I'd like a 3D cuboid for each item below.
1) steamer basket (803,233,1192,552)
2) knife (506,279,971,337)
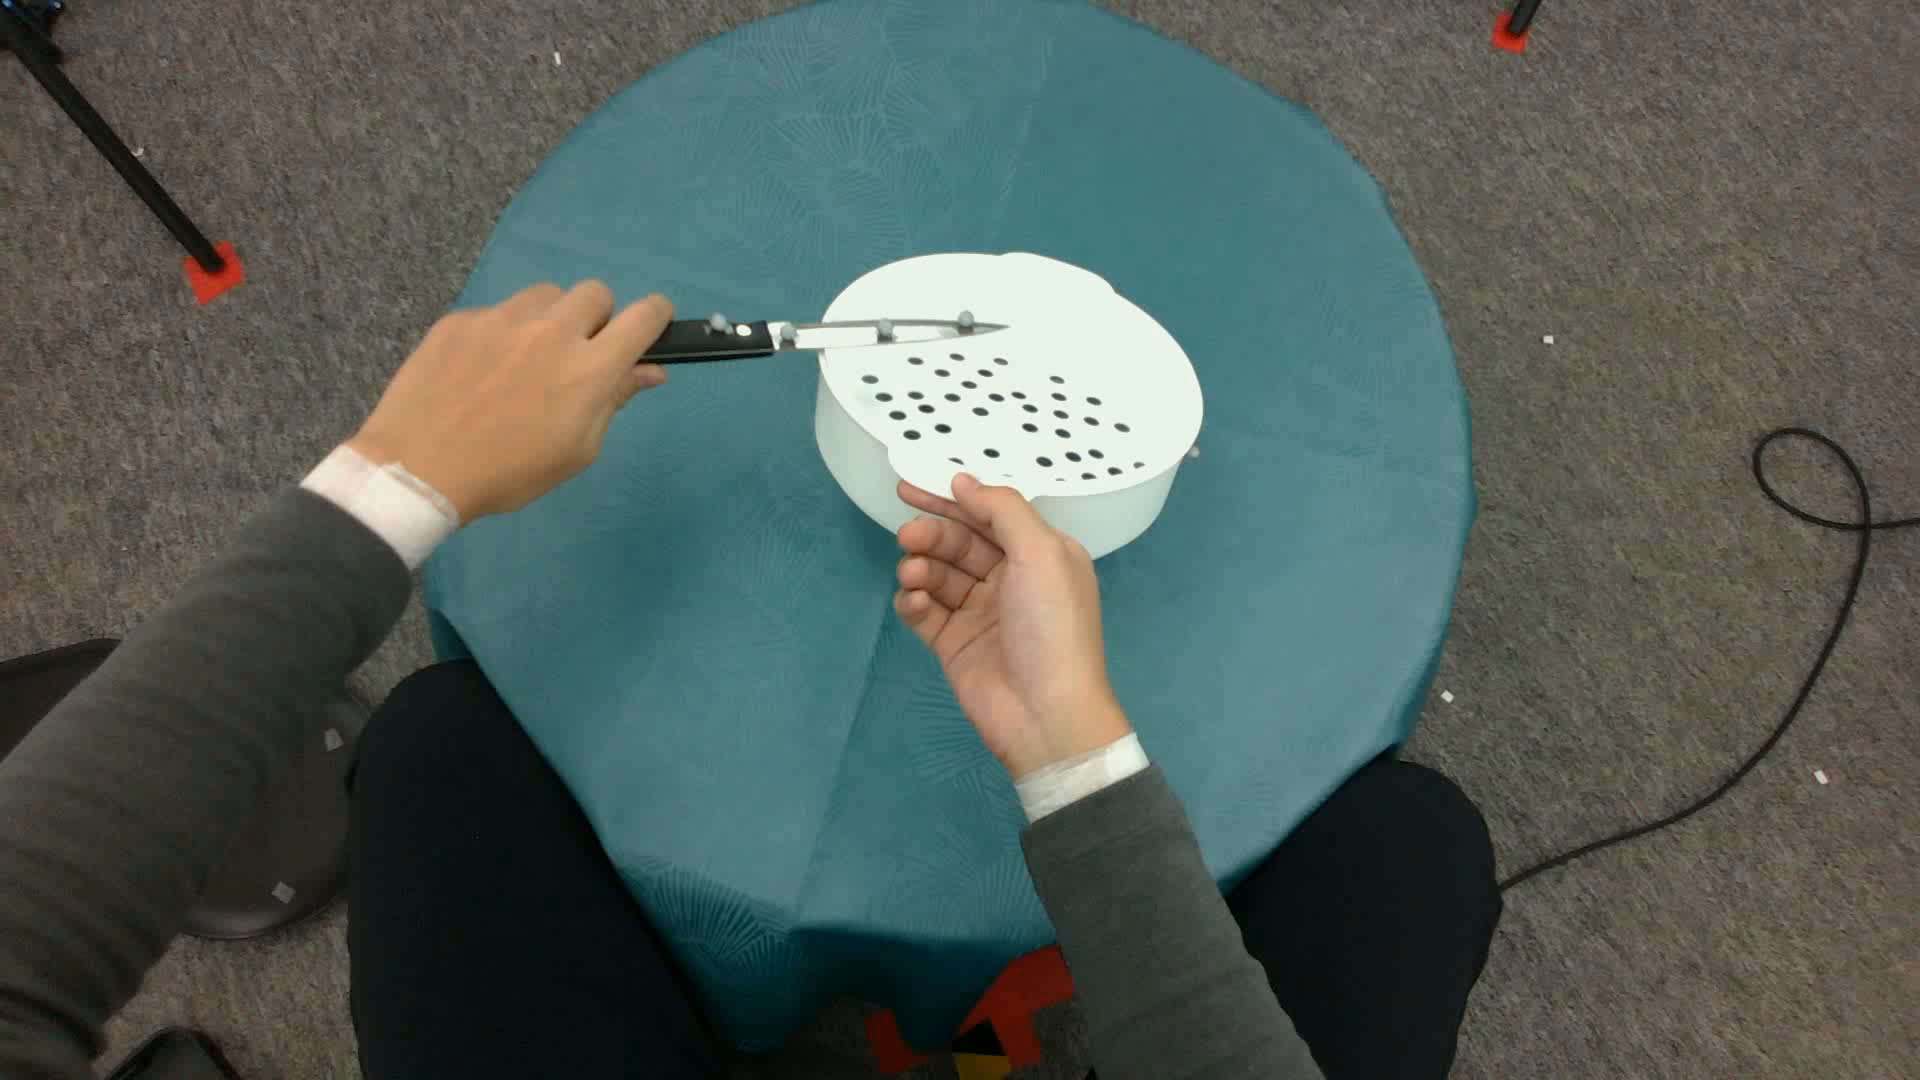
[{"bbox_3d":[0.017,-0.079,0.728,0.202,0.069,0.232,17,43,6],"label":"steamer basket"},{"bbox_3d":[-0.102,-0.119,0.690,0.239,0.016,0.024,-8,49,-23],"label":"knife"}]
